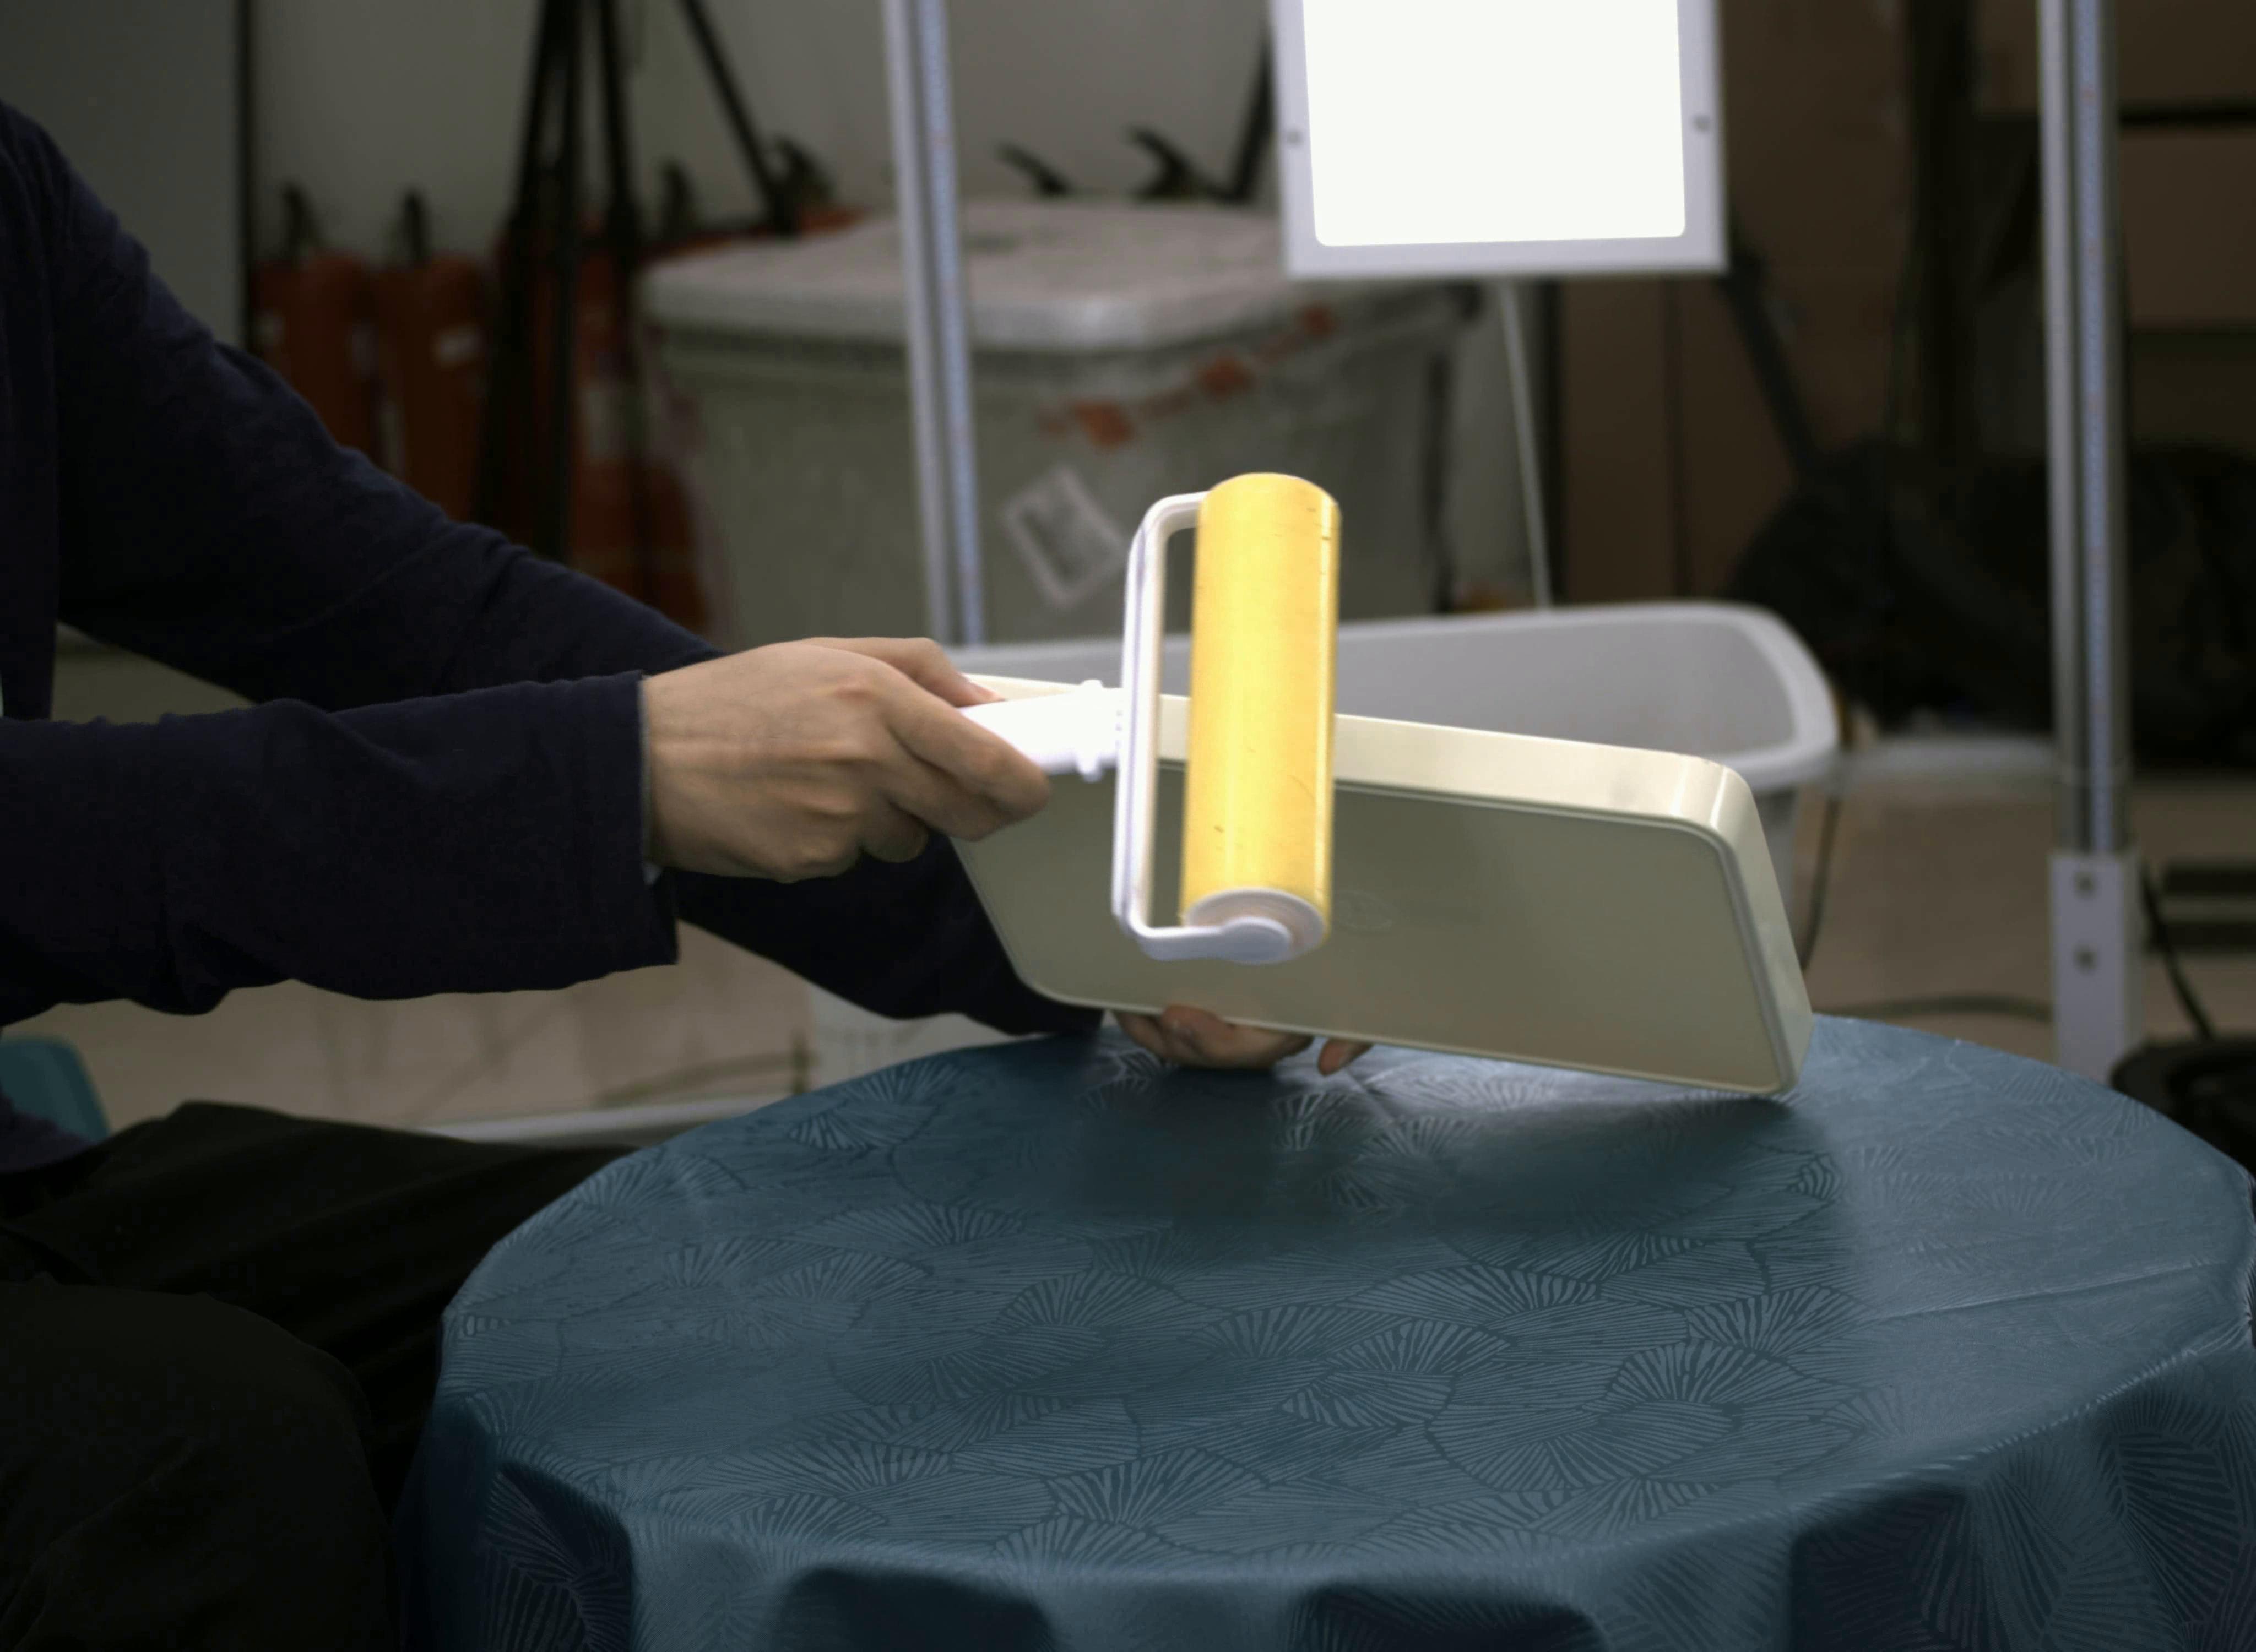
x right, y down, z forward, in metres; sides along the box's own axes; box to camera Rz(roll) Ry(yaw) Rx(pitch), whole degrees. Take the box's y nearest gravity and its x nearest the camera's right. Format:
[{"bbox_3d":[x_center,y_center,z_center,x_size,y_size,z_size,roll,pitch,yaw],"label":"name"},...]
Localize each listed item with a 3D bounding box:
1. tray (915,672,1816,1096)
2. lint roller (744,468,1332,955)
[{"bbox_3d":[0.083,0.022,1.925,0.304,0.190,0.027,7,59,22],"label":"tray"},{"bbox_3d":[-0.031,-0.033,1.760,0.192,0.051,0.174,-3,54,7],"label":"lint roller"}]
